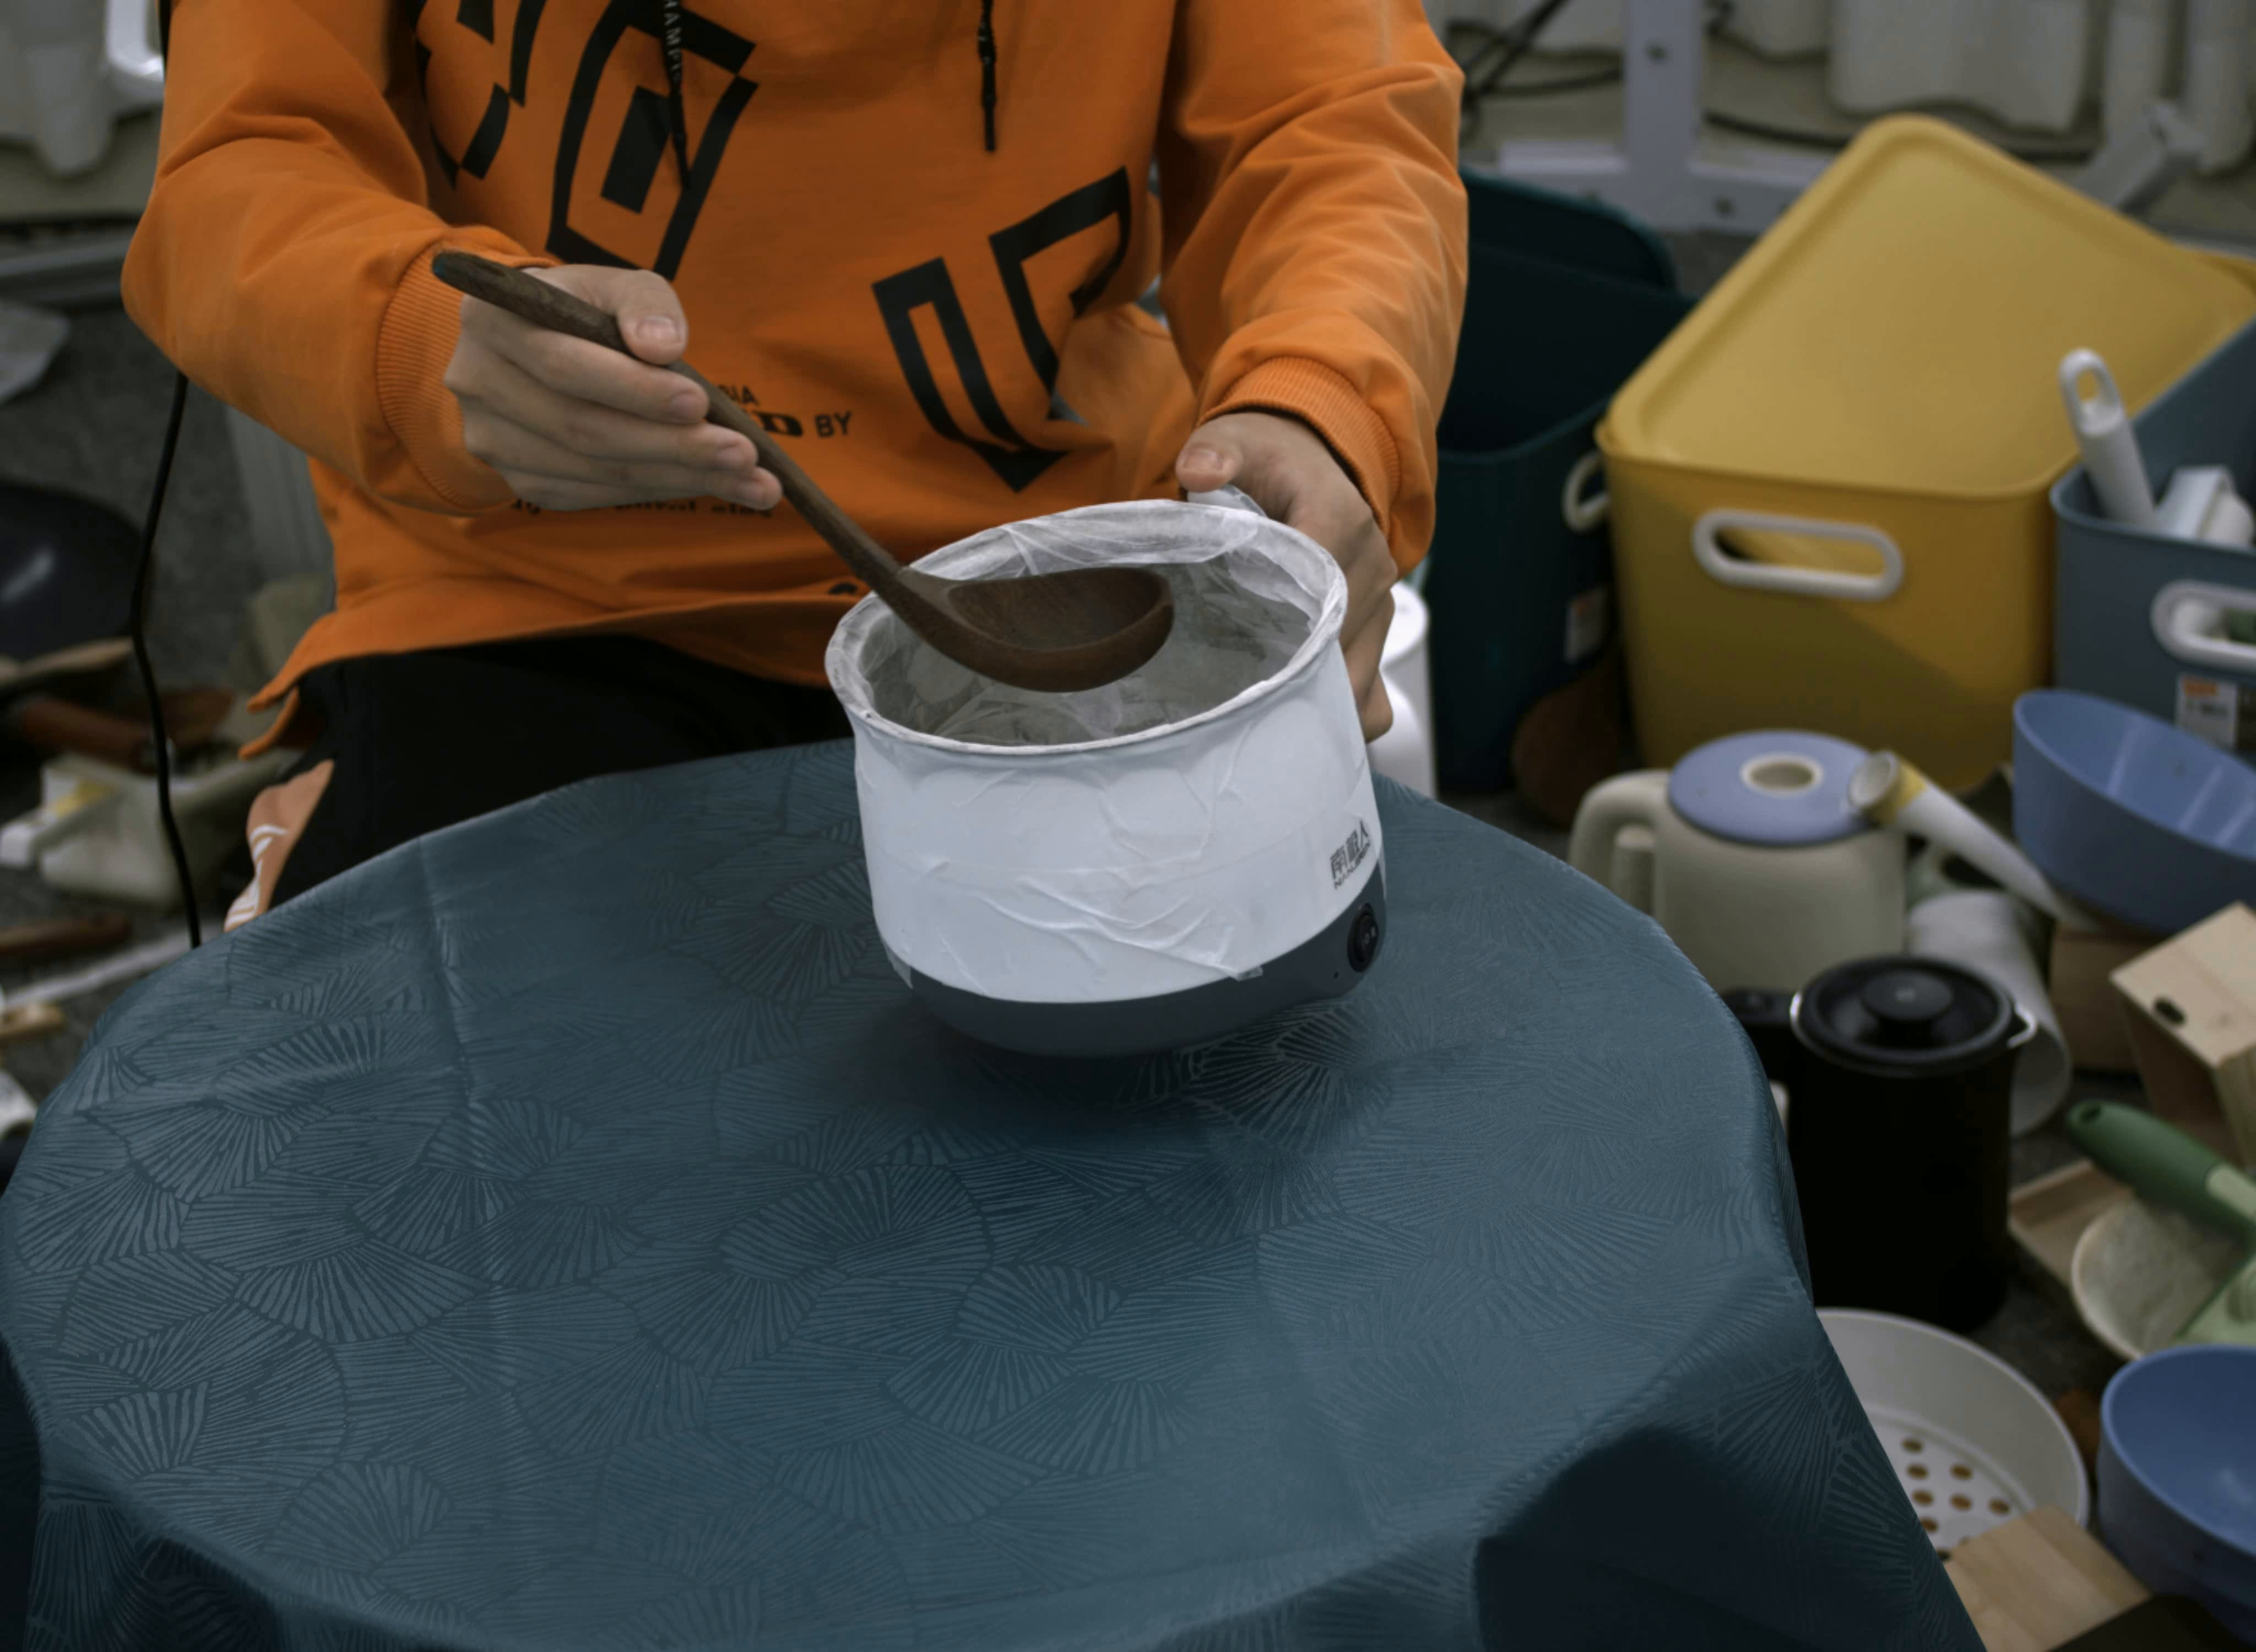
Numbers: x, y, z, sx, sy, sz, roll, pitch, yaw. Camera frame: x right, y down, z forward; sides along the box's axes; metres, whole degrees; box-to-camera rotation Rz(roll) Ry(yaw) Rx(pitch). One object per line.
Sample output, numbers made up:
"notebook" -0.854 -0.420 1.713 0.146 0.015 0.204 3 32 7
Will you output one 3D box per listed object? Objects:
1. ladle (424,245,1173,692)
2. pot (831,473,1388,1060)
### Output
"ladle" -0.105 -0.132 1.875 0.273 0.071 0.077 38 10 -17
"pot" 0.007 -0.028 1.935 0.177 0.135 0.238 6 32 24
